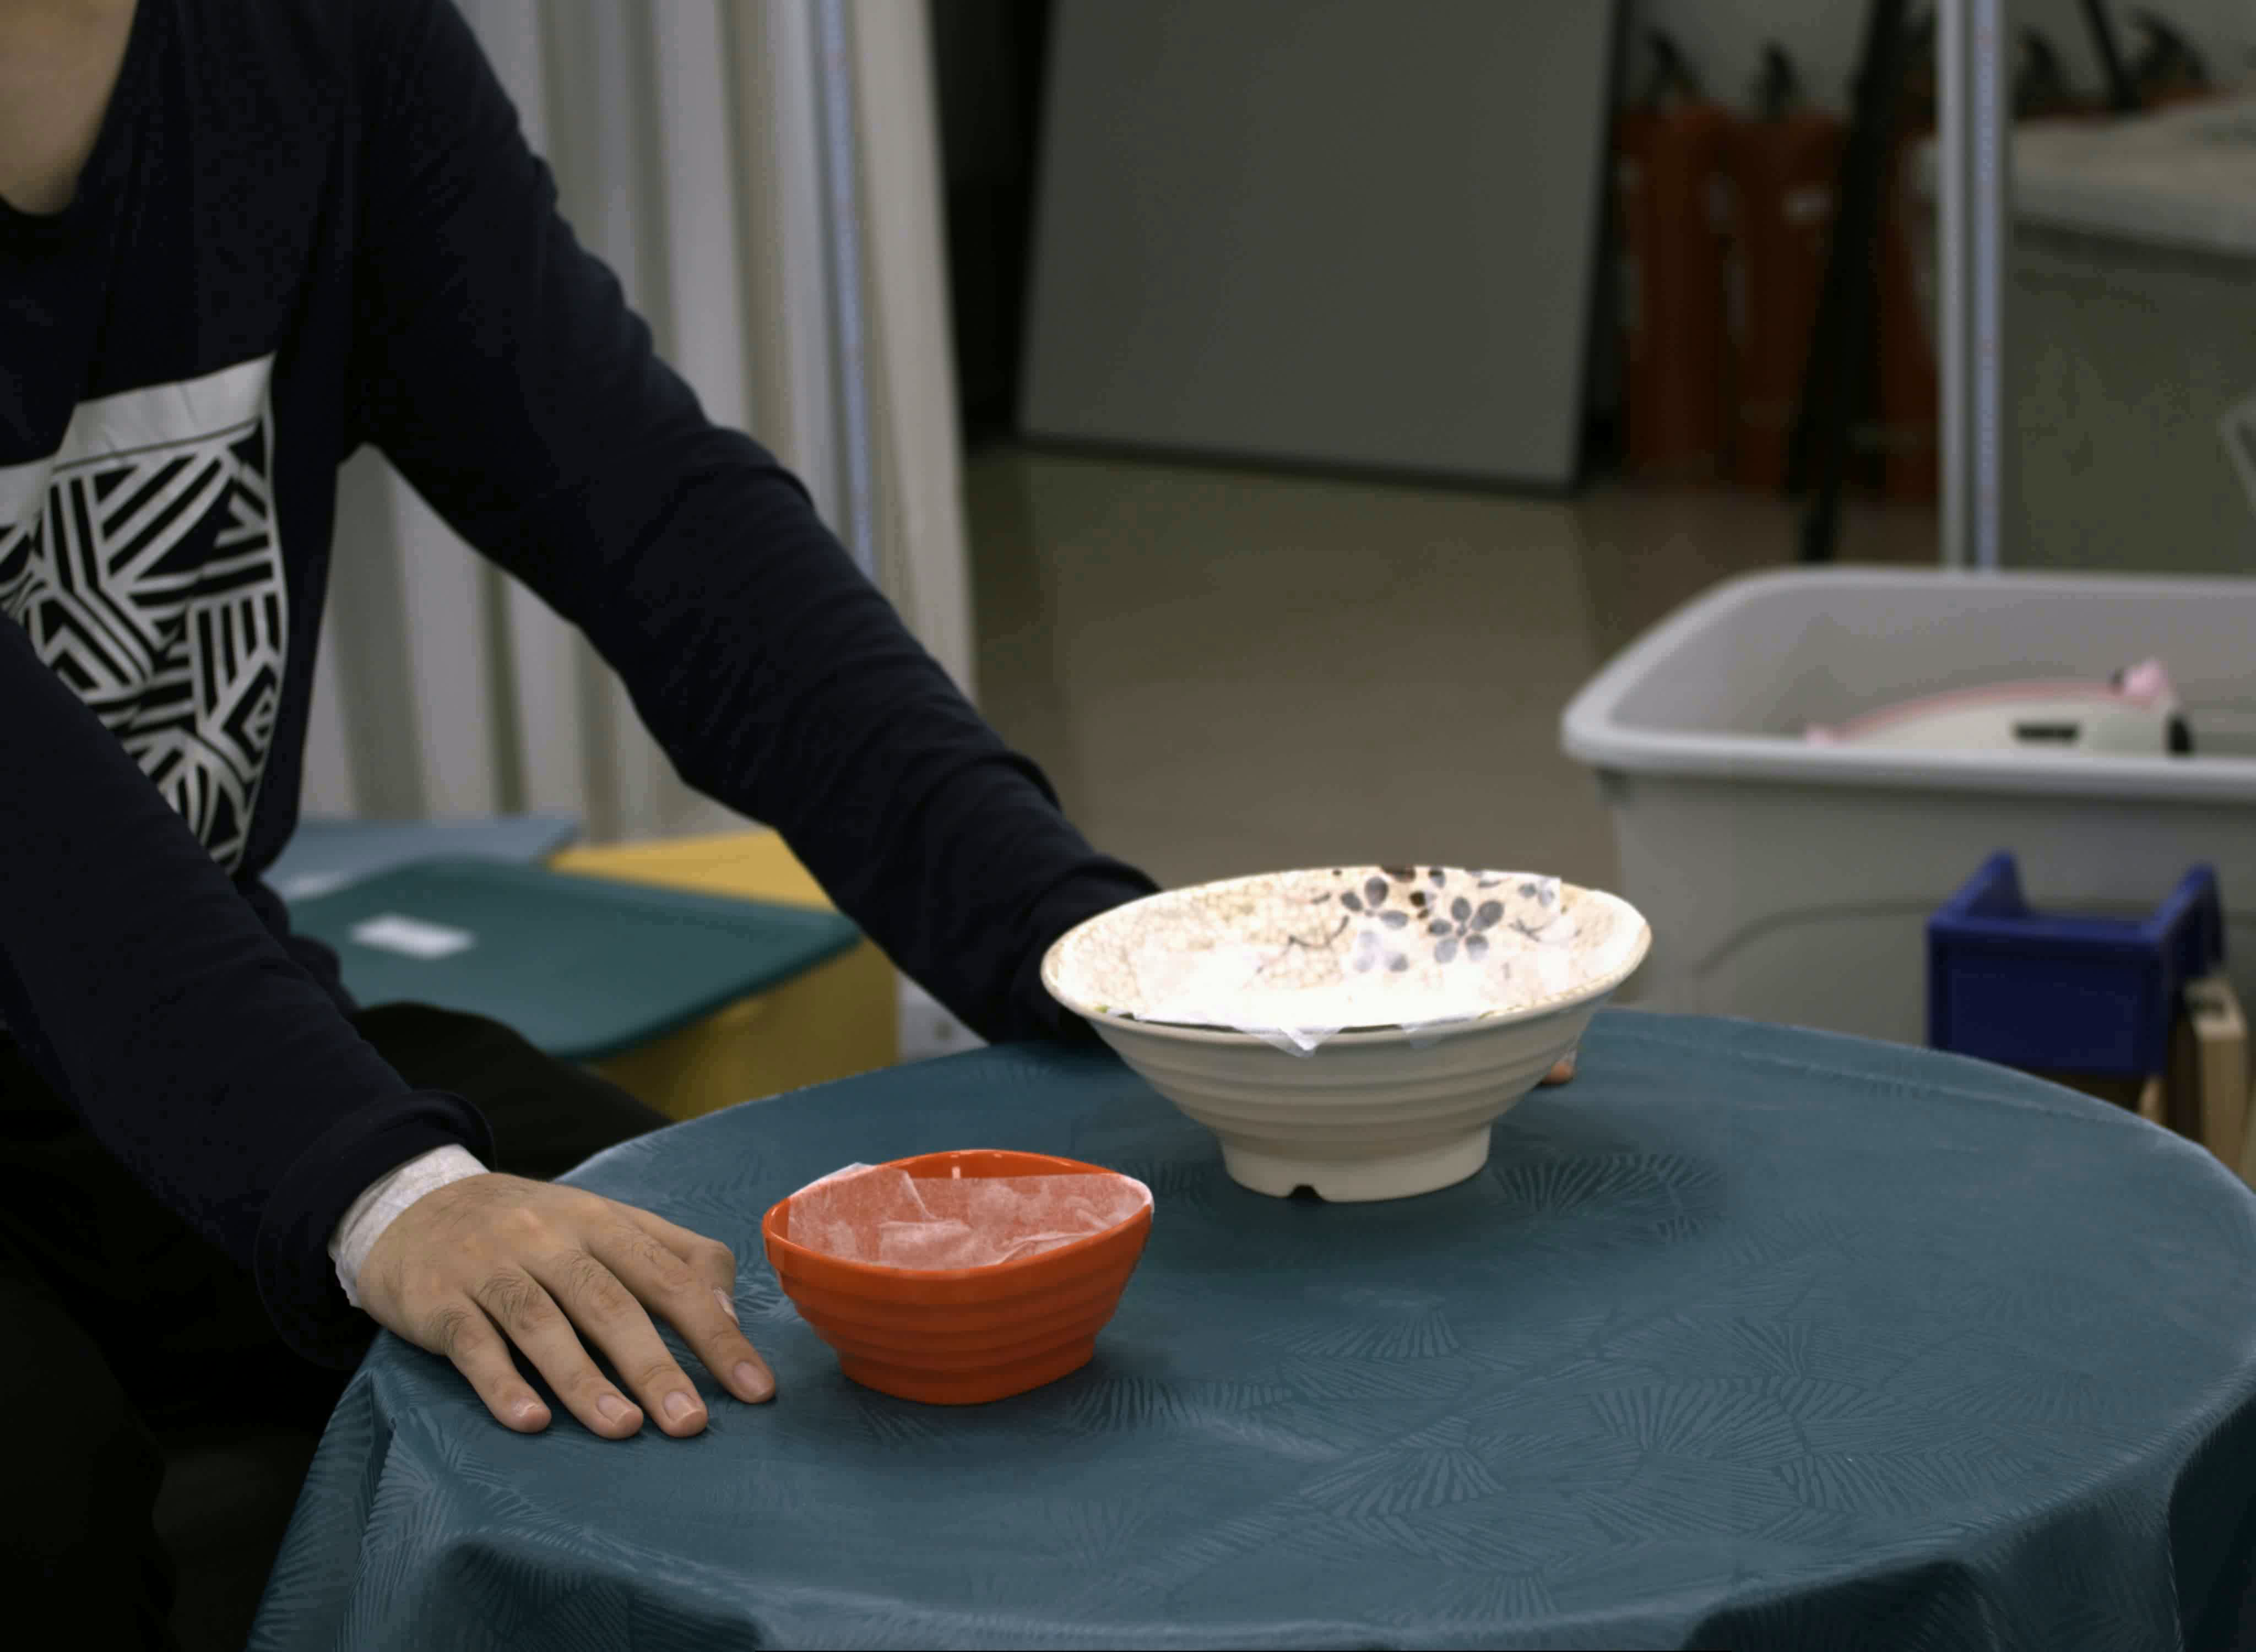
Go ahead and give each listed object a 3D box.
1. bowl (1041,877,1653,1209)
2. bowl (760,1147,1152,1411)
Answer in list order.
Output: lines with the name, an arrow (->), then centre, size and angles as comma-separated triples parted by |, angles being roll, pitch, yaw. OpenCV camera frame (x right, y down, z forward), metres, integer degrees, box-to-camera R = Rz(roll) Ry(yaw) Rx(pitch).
bowl -> 0.074, 0.077, 1.776 | 0.201, 0.079, 0.204 | -4, 12, 0
bowl -> -0.049, 0.137, 1.614 | 0.117, 0.052, 0.119 | -5, 14, 0
